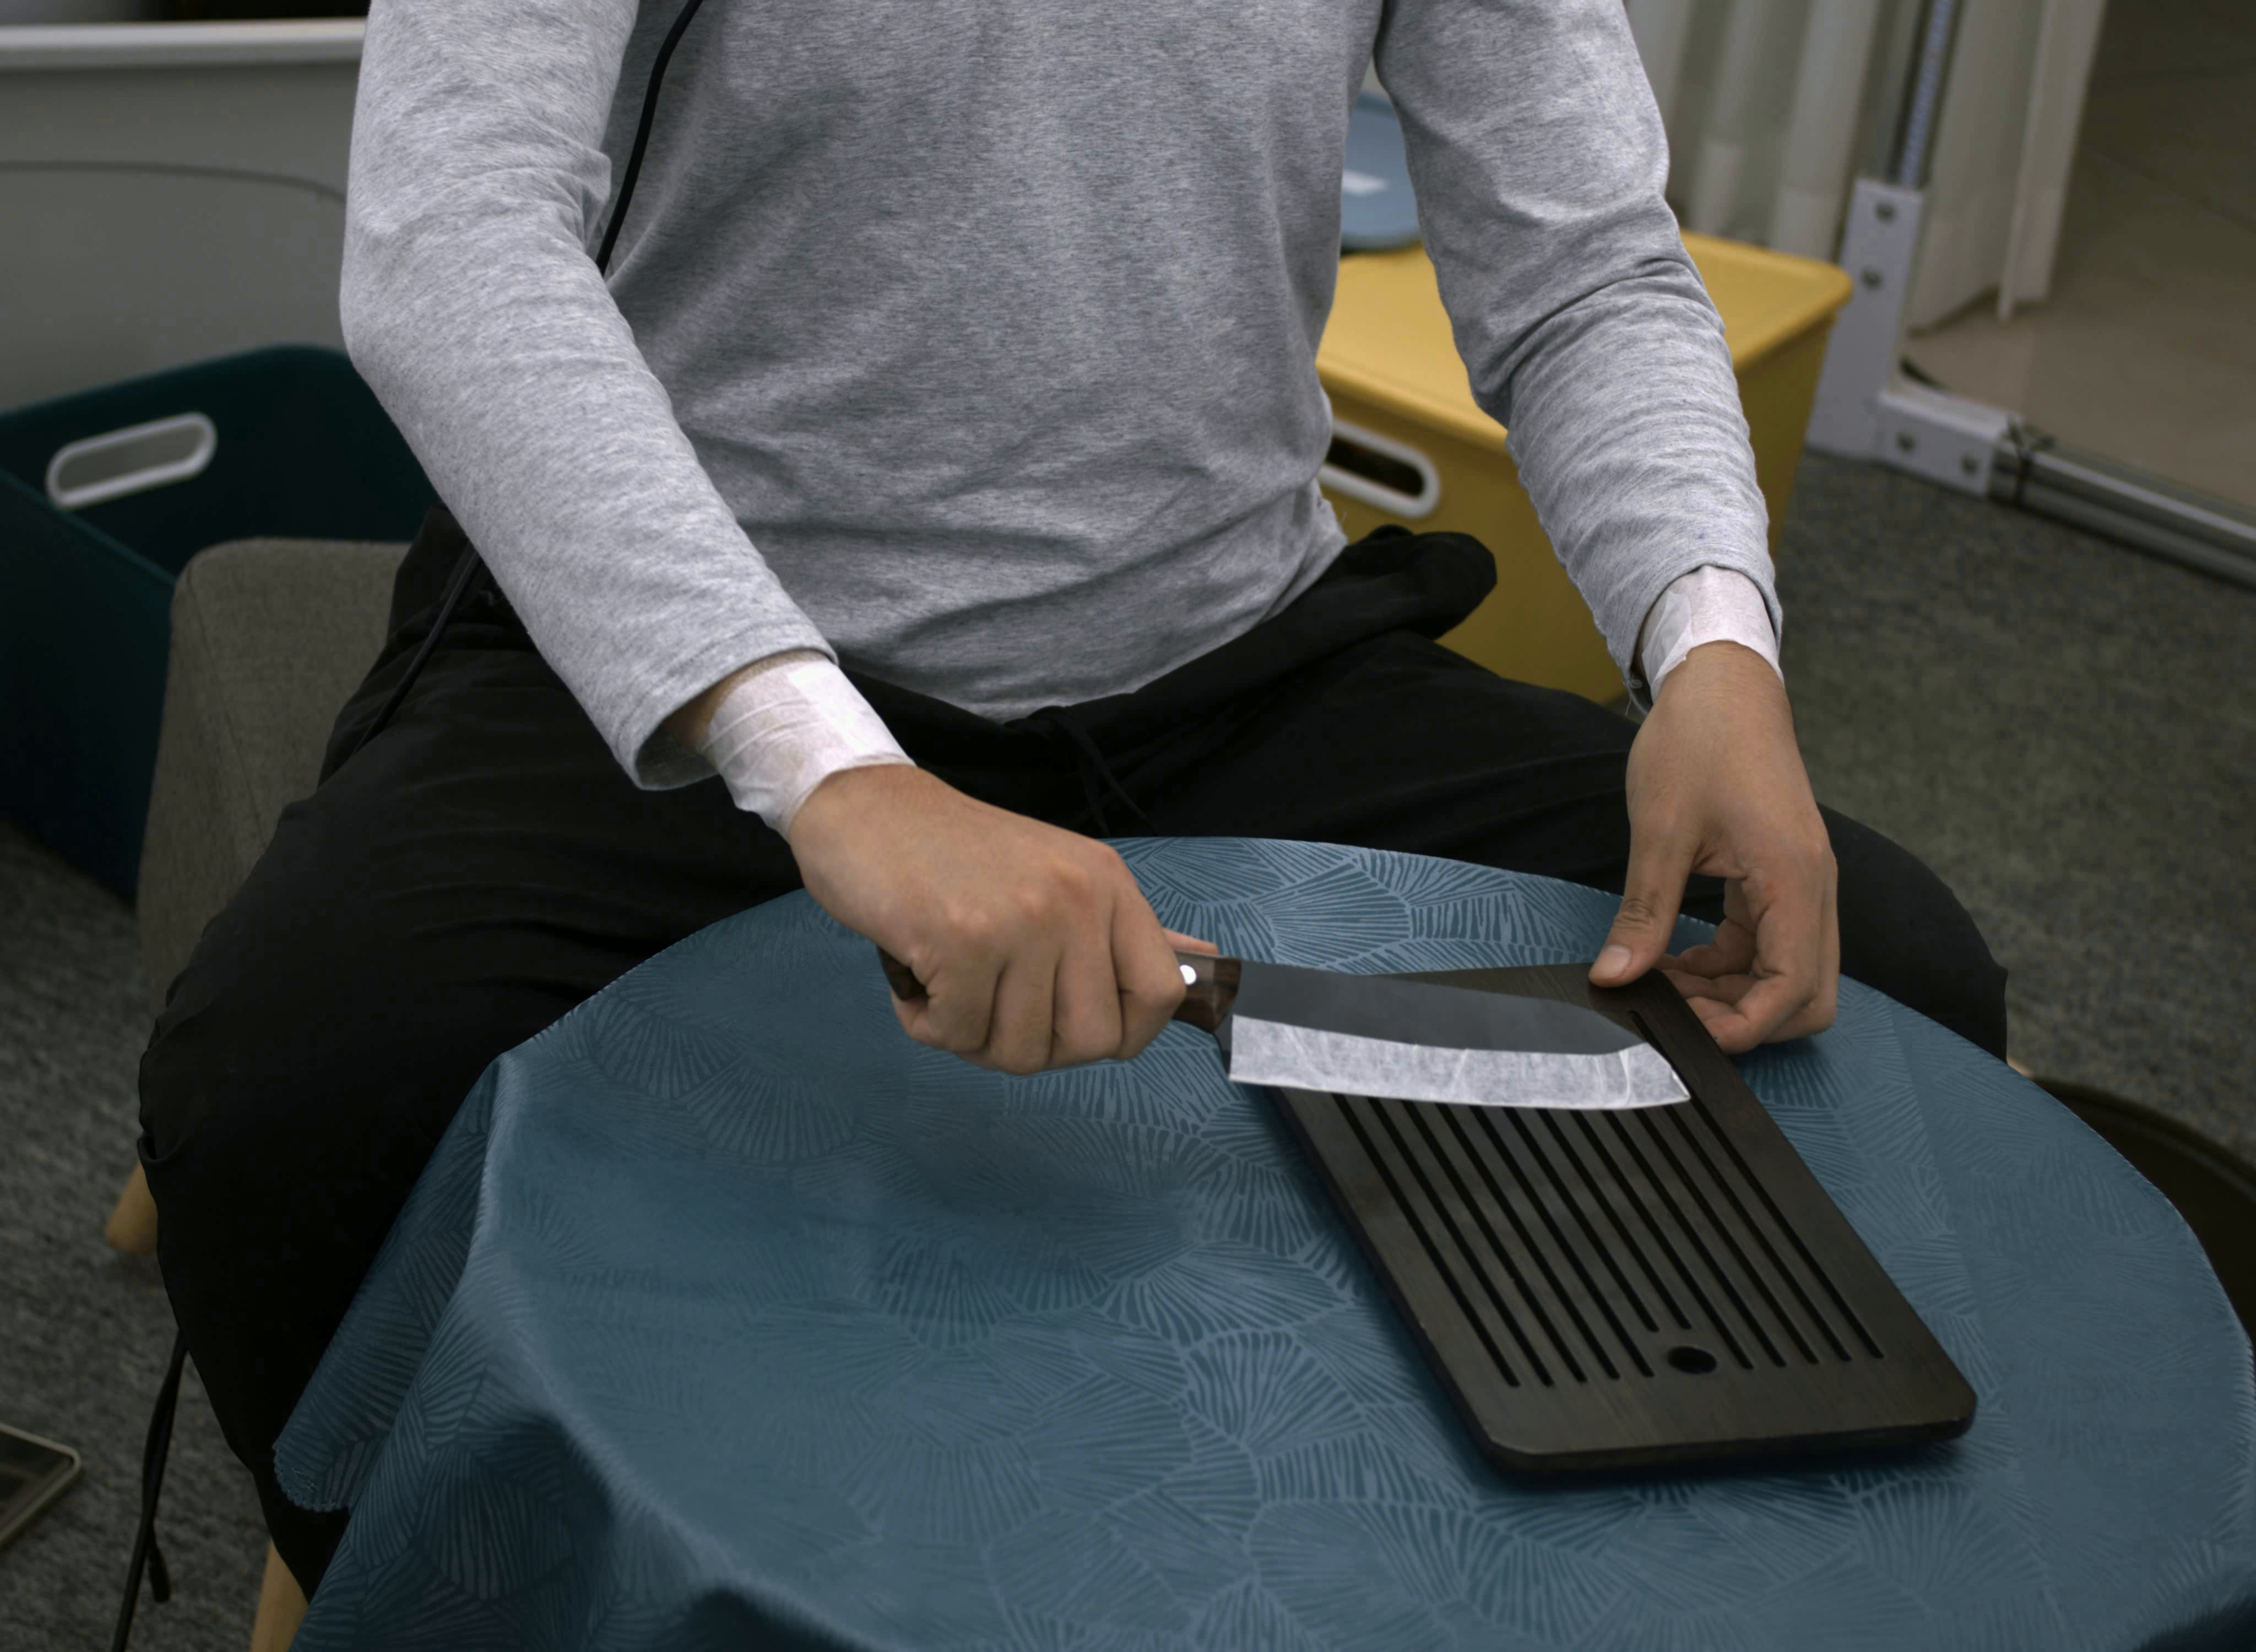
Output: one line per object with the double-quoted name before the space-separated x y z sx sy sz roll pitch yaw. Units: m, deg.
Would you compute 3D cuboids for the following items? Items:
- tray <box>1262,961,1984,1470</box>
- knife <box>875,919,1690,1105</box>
"tray" 0.156 0.129 1.809 0.169 0.018 0.308 -3 28 -16
"knife" 0.055 0.064 1.798 0.287 0.020 0.050 9 67 -12
